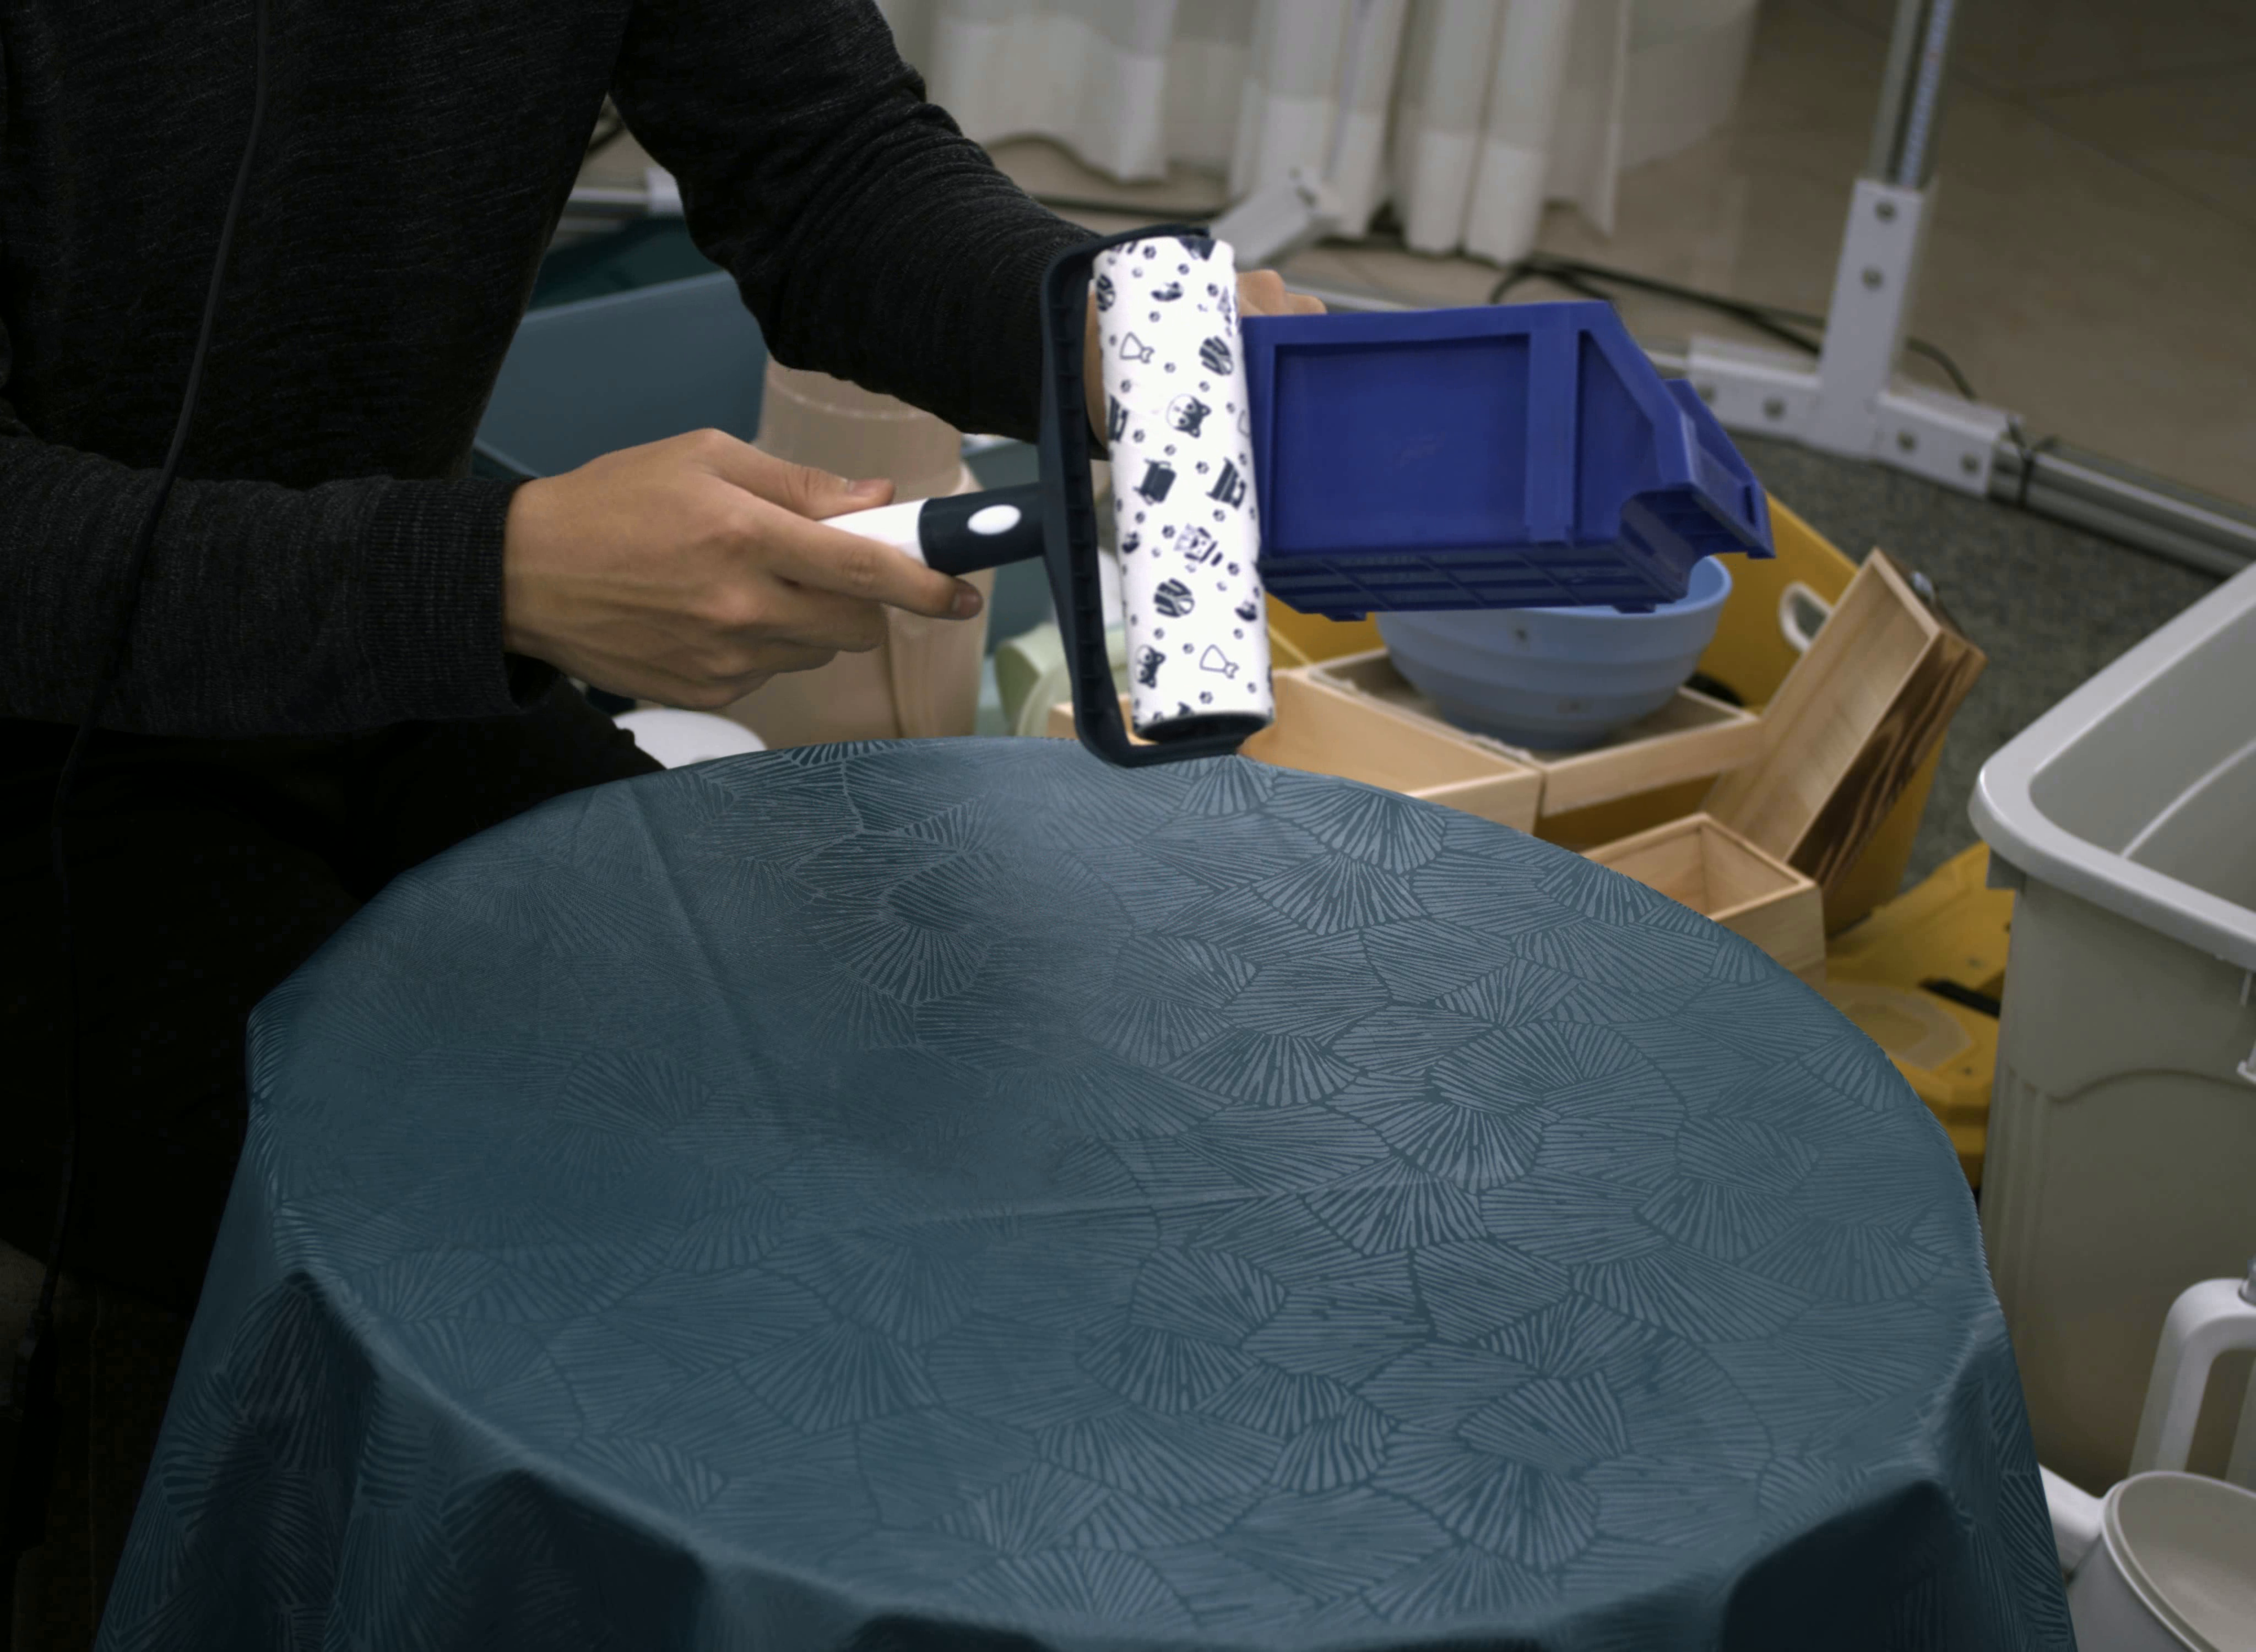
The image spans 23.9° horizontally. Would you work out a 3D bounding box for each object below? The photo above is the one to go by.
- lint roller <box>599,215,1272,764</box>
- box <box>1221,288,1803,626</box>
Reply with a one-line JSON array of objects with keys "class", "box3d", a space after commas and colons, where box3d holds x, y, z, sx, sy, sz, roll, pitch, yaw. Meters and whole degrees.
[{"class": "lint roller", "box3d": [-0.072, -0.094, 1.774, 0.247, 0.177, 0.050, -10, -12, 24]}, {"class": "box", "box3d": [0.125, -0.122, 1.786, 0.179, 0.082, 0.123, -4, -11, 21]}]
